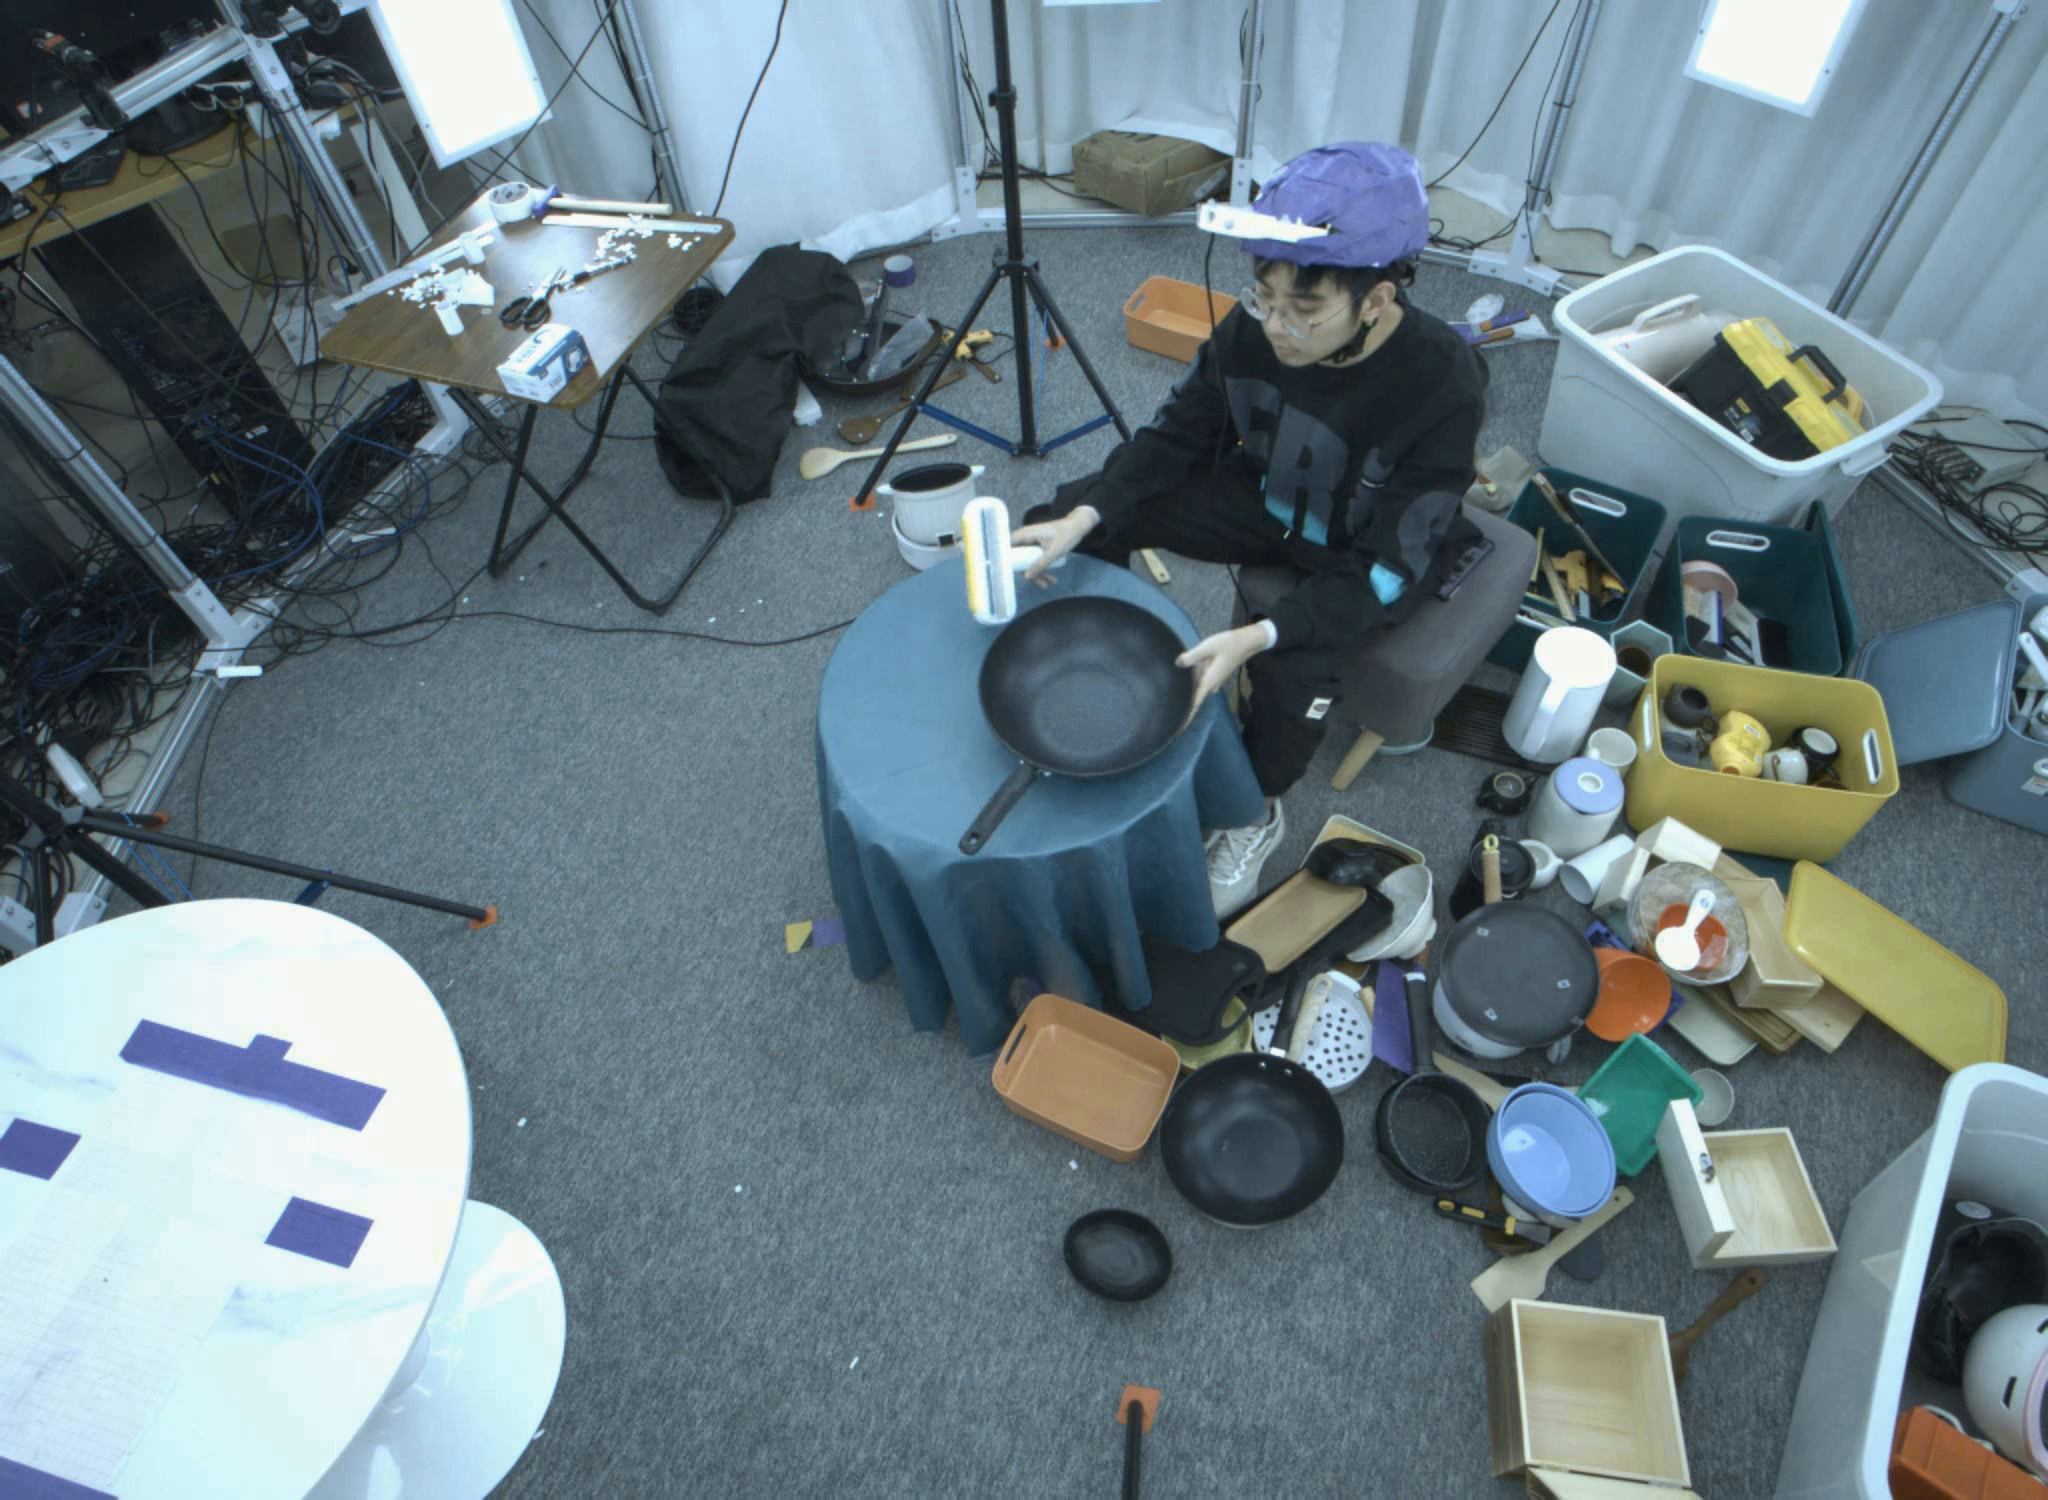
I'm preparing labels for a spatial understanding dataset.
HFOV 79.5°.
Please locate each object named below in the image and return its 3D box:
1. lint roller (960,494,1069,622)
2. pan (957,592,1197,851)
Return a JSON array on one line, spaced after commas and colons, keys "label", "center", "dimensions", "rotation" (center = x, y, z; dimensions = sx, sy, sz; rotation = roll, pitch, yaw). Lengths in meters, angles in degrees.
[{"label": "lint roller", "center": [-0.007, -0.297, 1.890], "dimensions": [0.196, 0.073, 0.193], "rotation": [-7, 94, -28]}, {"label": "pan", "center": [0.049, -0.025, 1.732], "dimensions": [0.306, 0.113, 0.478], "rotation": [25, 63, 17]}]
